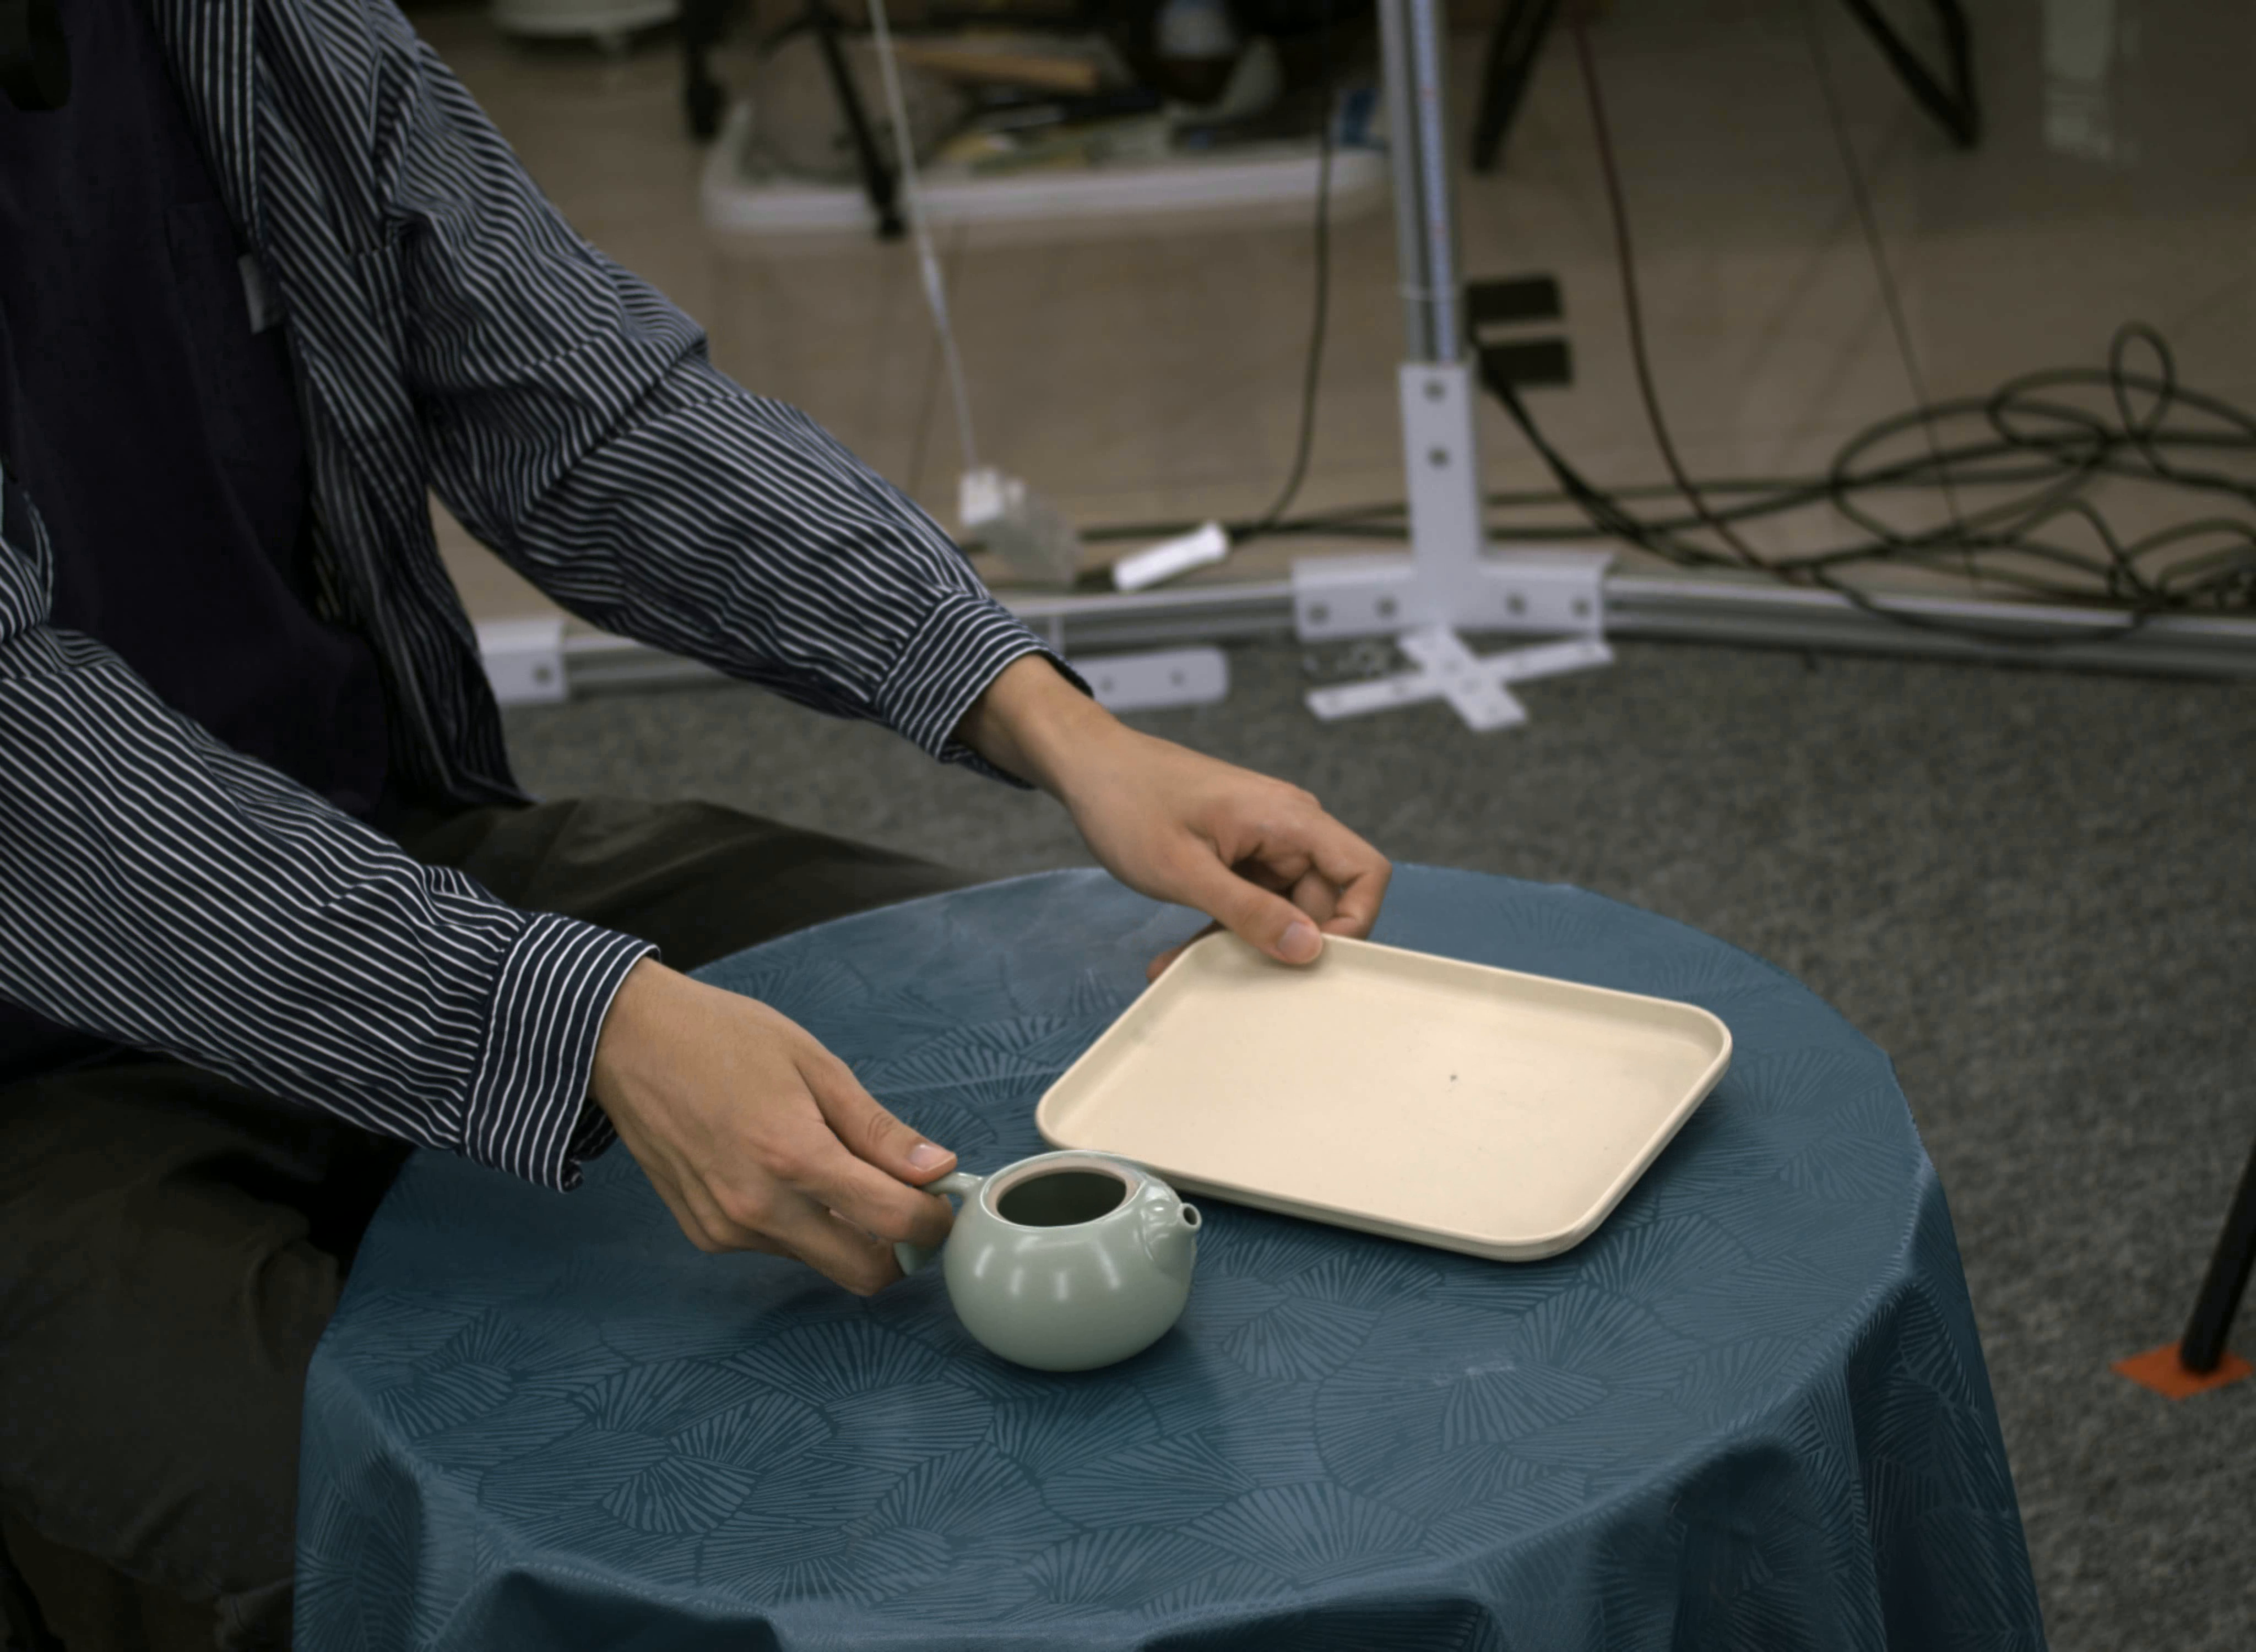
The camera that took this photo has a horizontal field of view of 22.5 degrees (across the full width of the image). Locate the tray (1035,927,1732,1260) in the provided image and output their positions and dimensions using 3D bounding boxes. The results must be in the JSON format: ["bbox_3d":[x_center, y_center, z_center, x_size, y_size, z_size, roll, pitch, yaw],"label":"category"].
[{"bbox_3d":[0.098,0.102,2.166,0.238,0.018,0.169,11,35,30],"label":"tray"}]

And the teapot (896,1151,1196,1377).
[{"bbox_3d":[-0.030,0.157,2.050,0.128,0.062,0.090,10,32,30],"label":"teapot"}]
